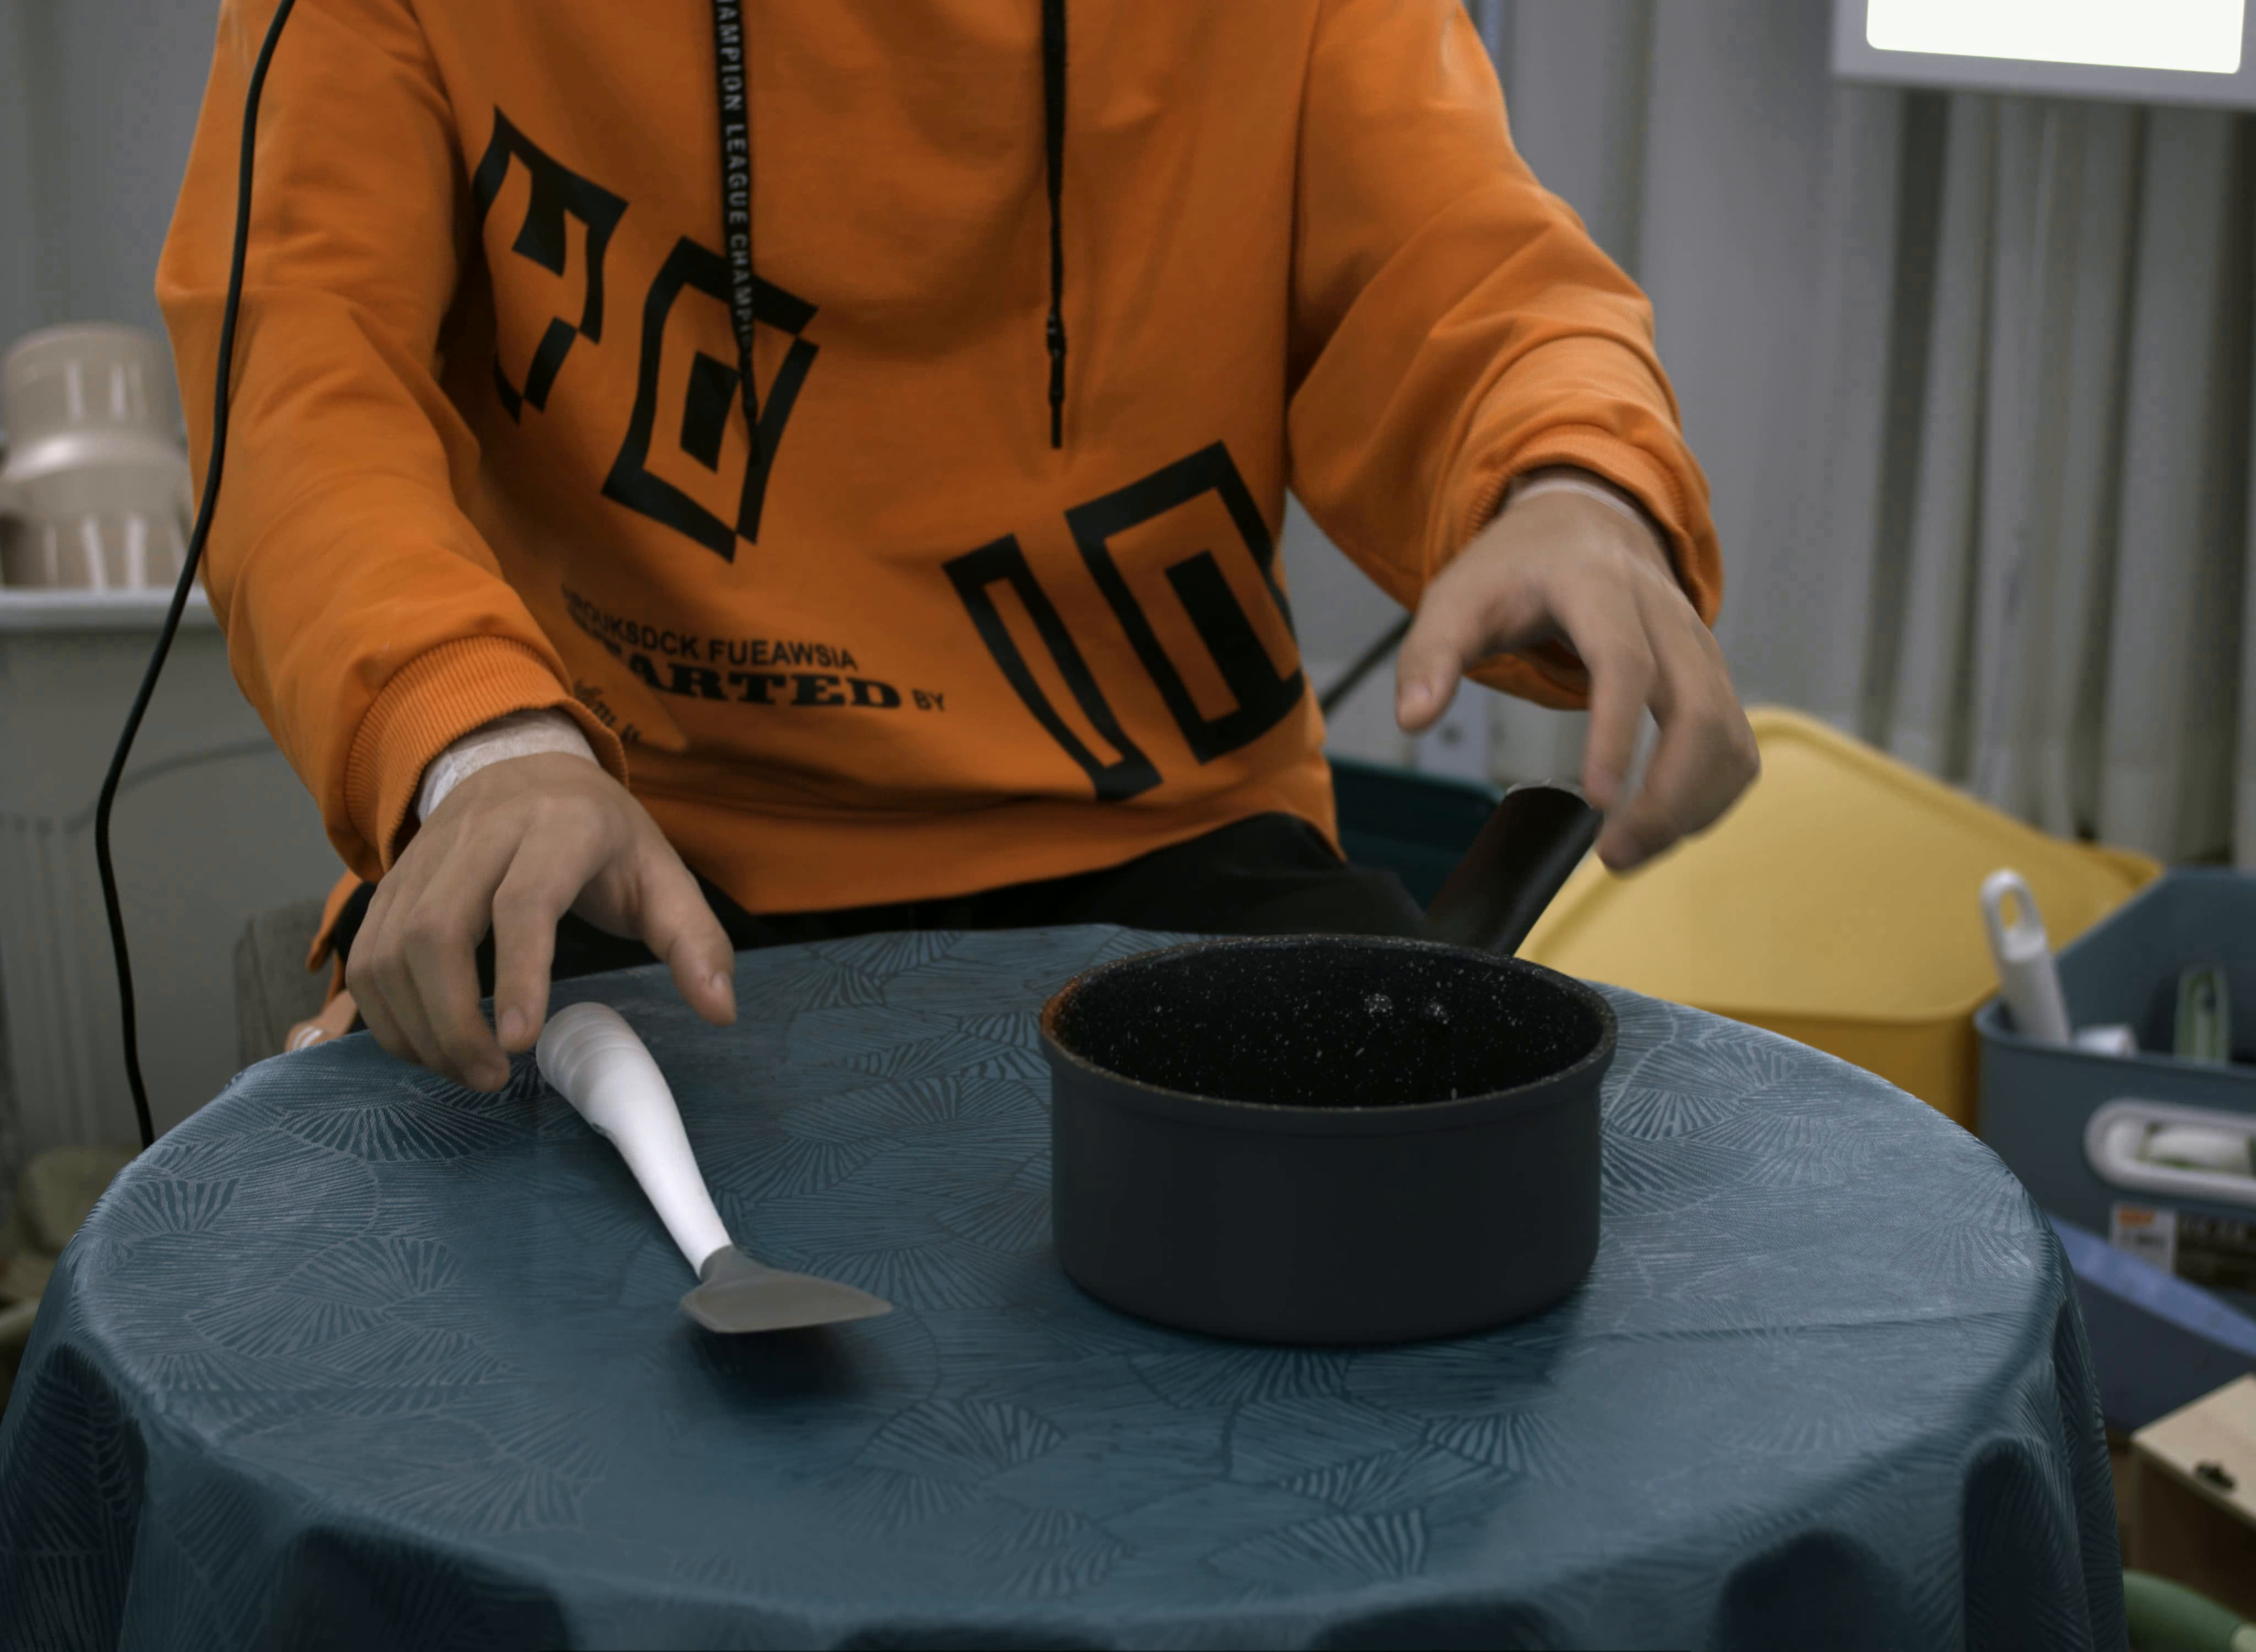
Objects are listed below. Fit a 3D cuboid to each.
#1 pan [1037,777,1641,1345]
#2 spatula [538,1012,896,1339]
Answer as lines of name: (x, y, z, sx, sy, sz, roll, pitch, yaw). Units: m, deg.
pan: (0.089, 0.068, 1.626, 0.170, 0.087, 0.329, 8, 19, 22)
spatula: (-0.131, 0.110, 1.568, 0.059, 0.032, 0.284, 0, 14, -19)
